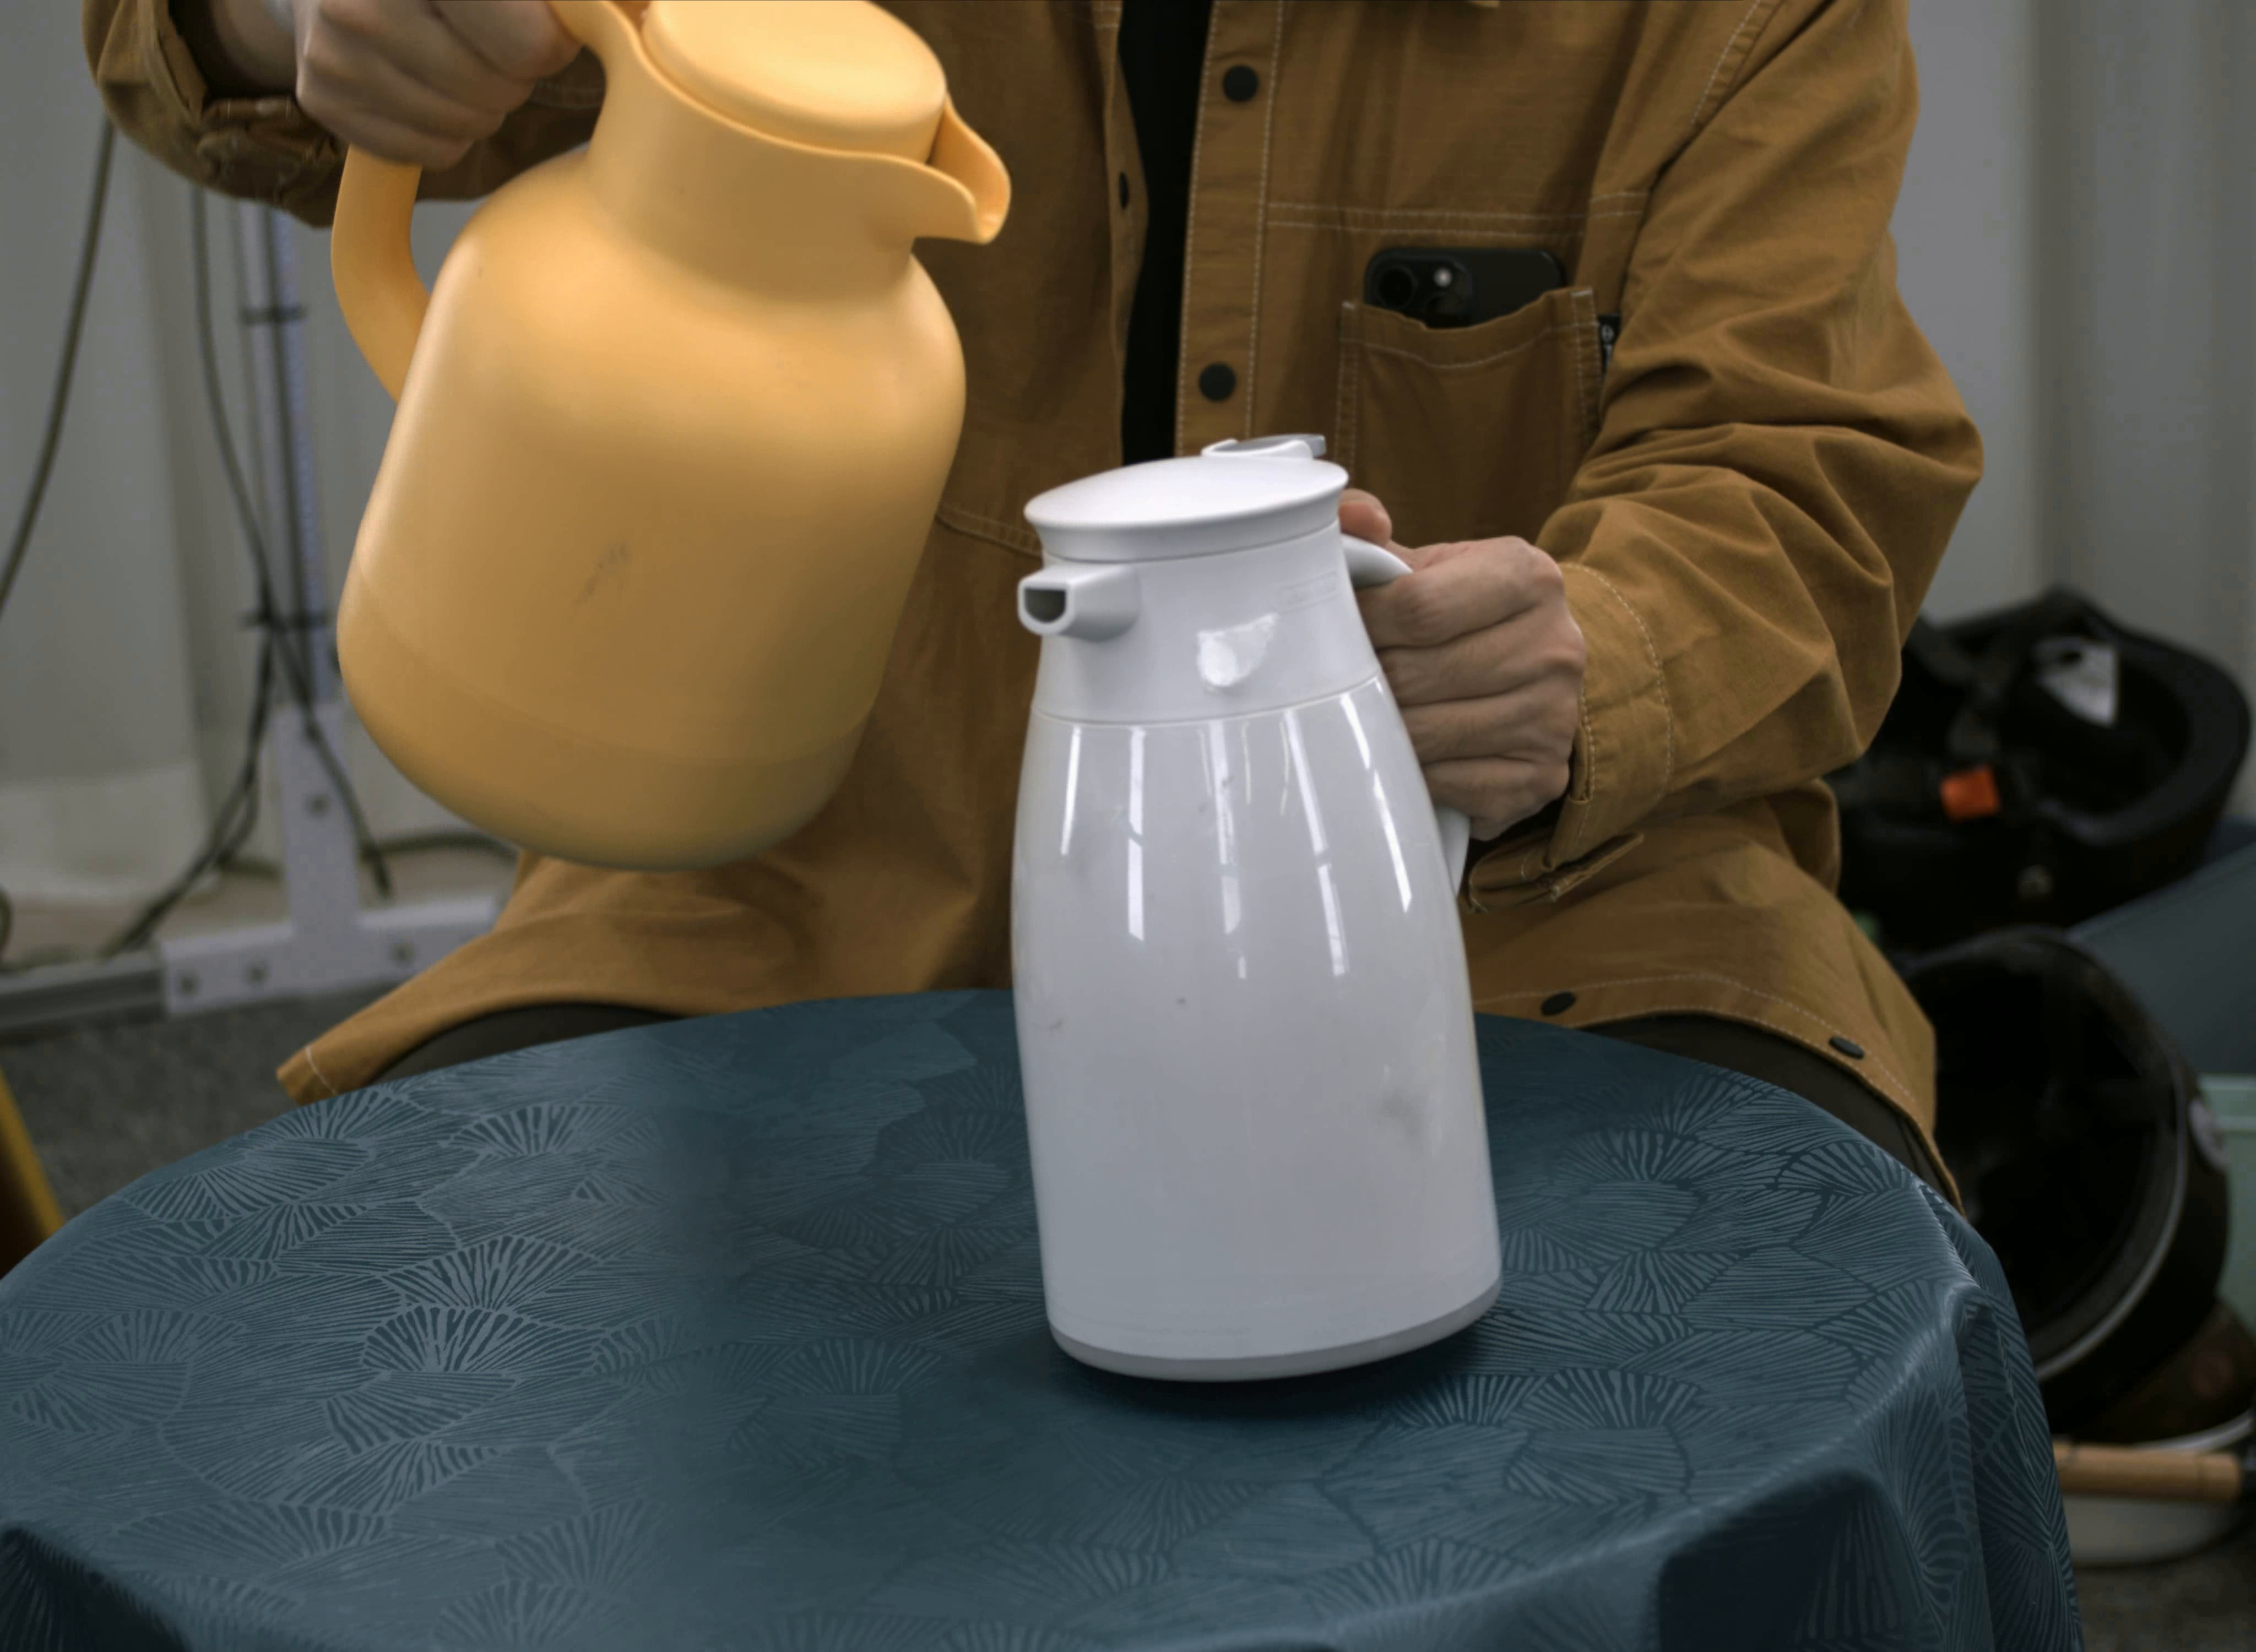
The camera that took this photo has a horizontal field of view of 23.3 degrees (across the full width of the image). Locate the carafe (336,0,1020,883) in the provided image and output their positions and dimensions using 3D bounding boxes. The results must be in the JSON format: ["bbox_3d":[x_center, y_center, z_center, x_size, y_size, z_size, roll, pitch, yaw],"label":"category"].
[{"bbox_3d":[-0.145,-0.131,1.621,0.203,0.258,0.164,30,29,15],"label":"carafe"}]

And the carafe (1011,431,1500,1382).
[{"bbox_3d":[0.041,0.014,1.563,0.133,0.248,0.167,3,14,41],"label":"carafe"}]
